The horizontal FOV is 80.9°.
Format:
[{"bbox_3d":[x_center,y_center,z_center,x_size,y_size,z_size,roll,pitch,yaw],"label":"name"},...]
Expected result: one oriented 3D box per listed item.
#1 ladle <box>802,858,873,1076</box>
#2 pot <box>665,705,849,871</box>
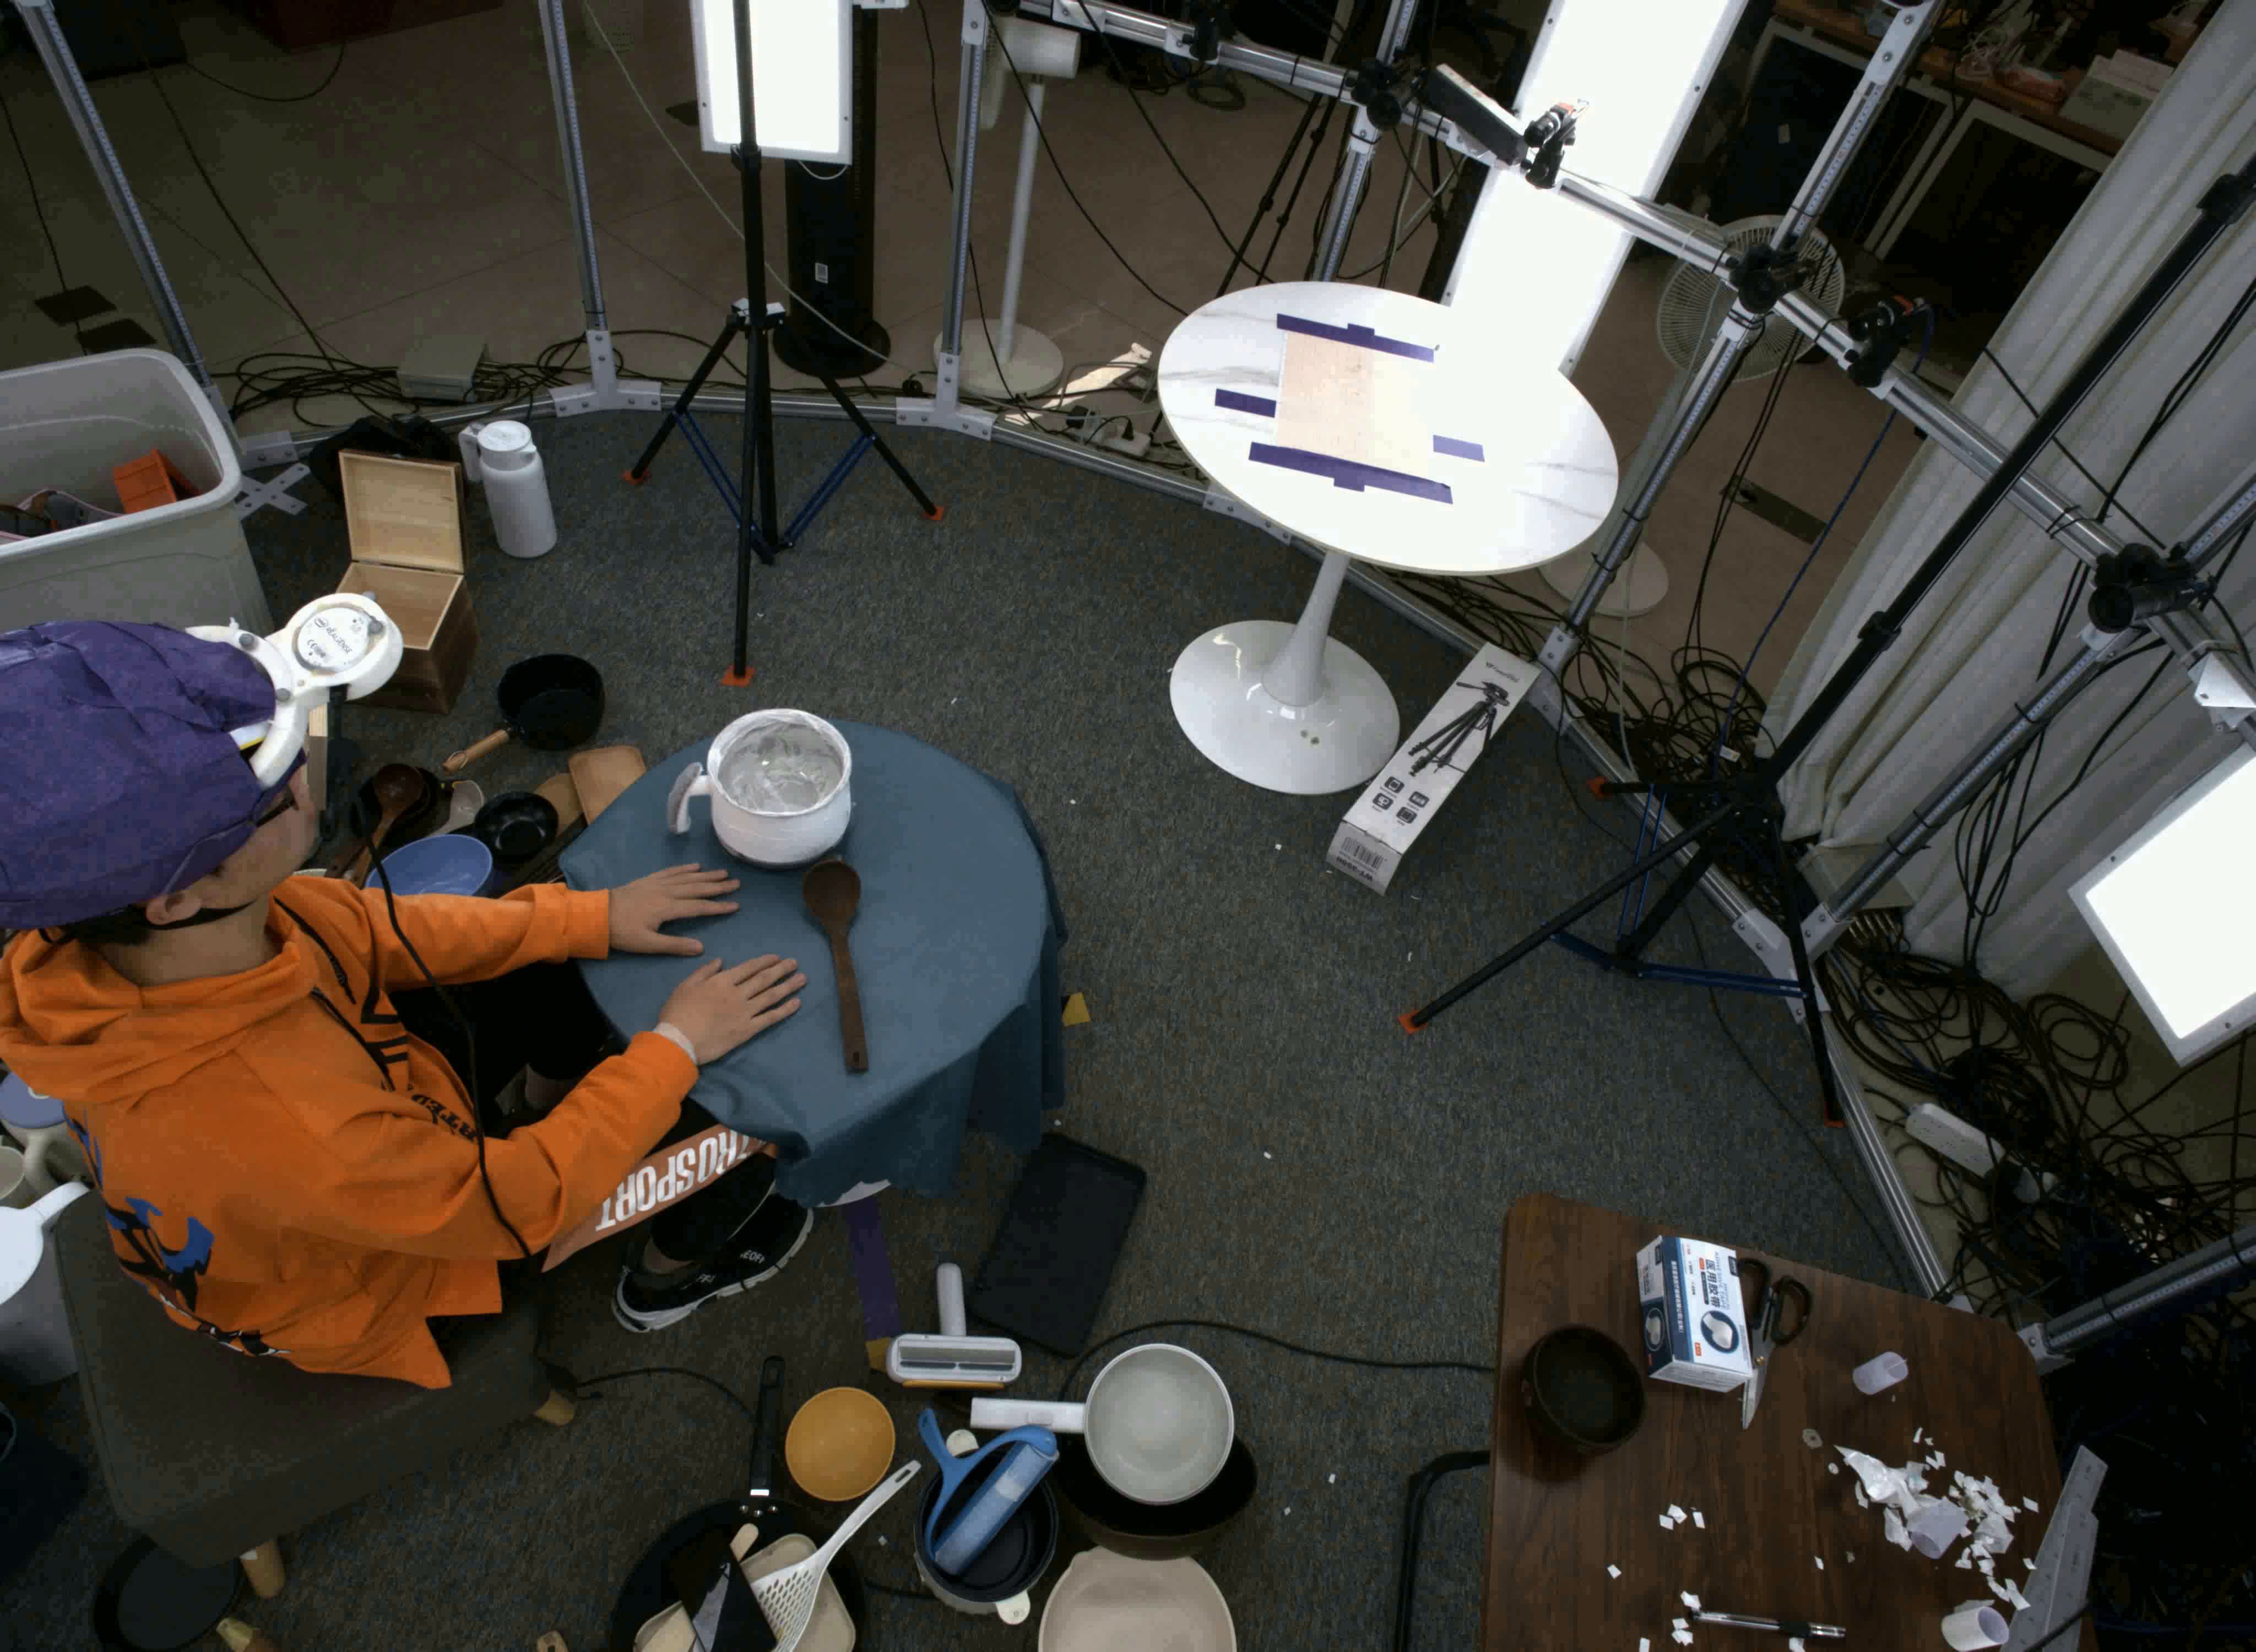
[{"bbox_3d":[-0.343,0.161,1.569,0.076,0.073,0.267,-8,55,-15],"label":"ladle"},{"bbox_3d":[-0.472,-0.042,1.643,0.235,0.139,0.174,-7,54,-20],"label":"pot"}]
